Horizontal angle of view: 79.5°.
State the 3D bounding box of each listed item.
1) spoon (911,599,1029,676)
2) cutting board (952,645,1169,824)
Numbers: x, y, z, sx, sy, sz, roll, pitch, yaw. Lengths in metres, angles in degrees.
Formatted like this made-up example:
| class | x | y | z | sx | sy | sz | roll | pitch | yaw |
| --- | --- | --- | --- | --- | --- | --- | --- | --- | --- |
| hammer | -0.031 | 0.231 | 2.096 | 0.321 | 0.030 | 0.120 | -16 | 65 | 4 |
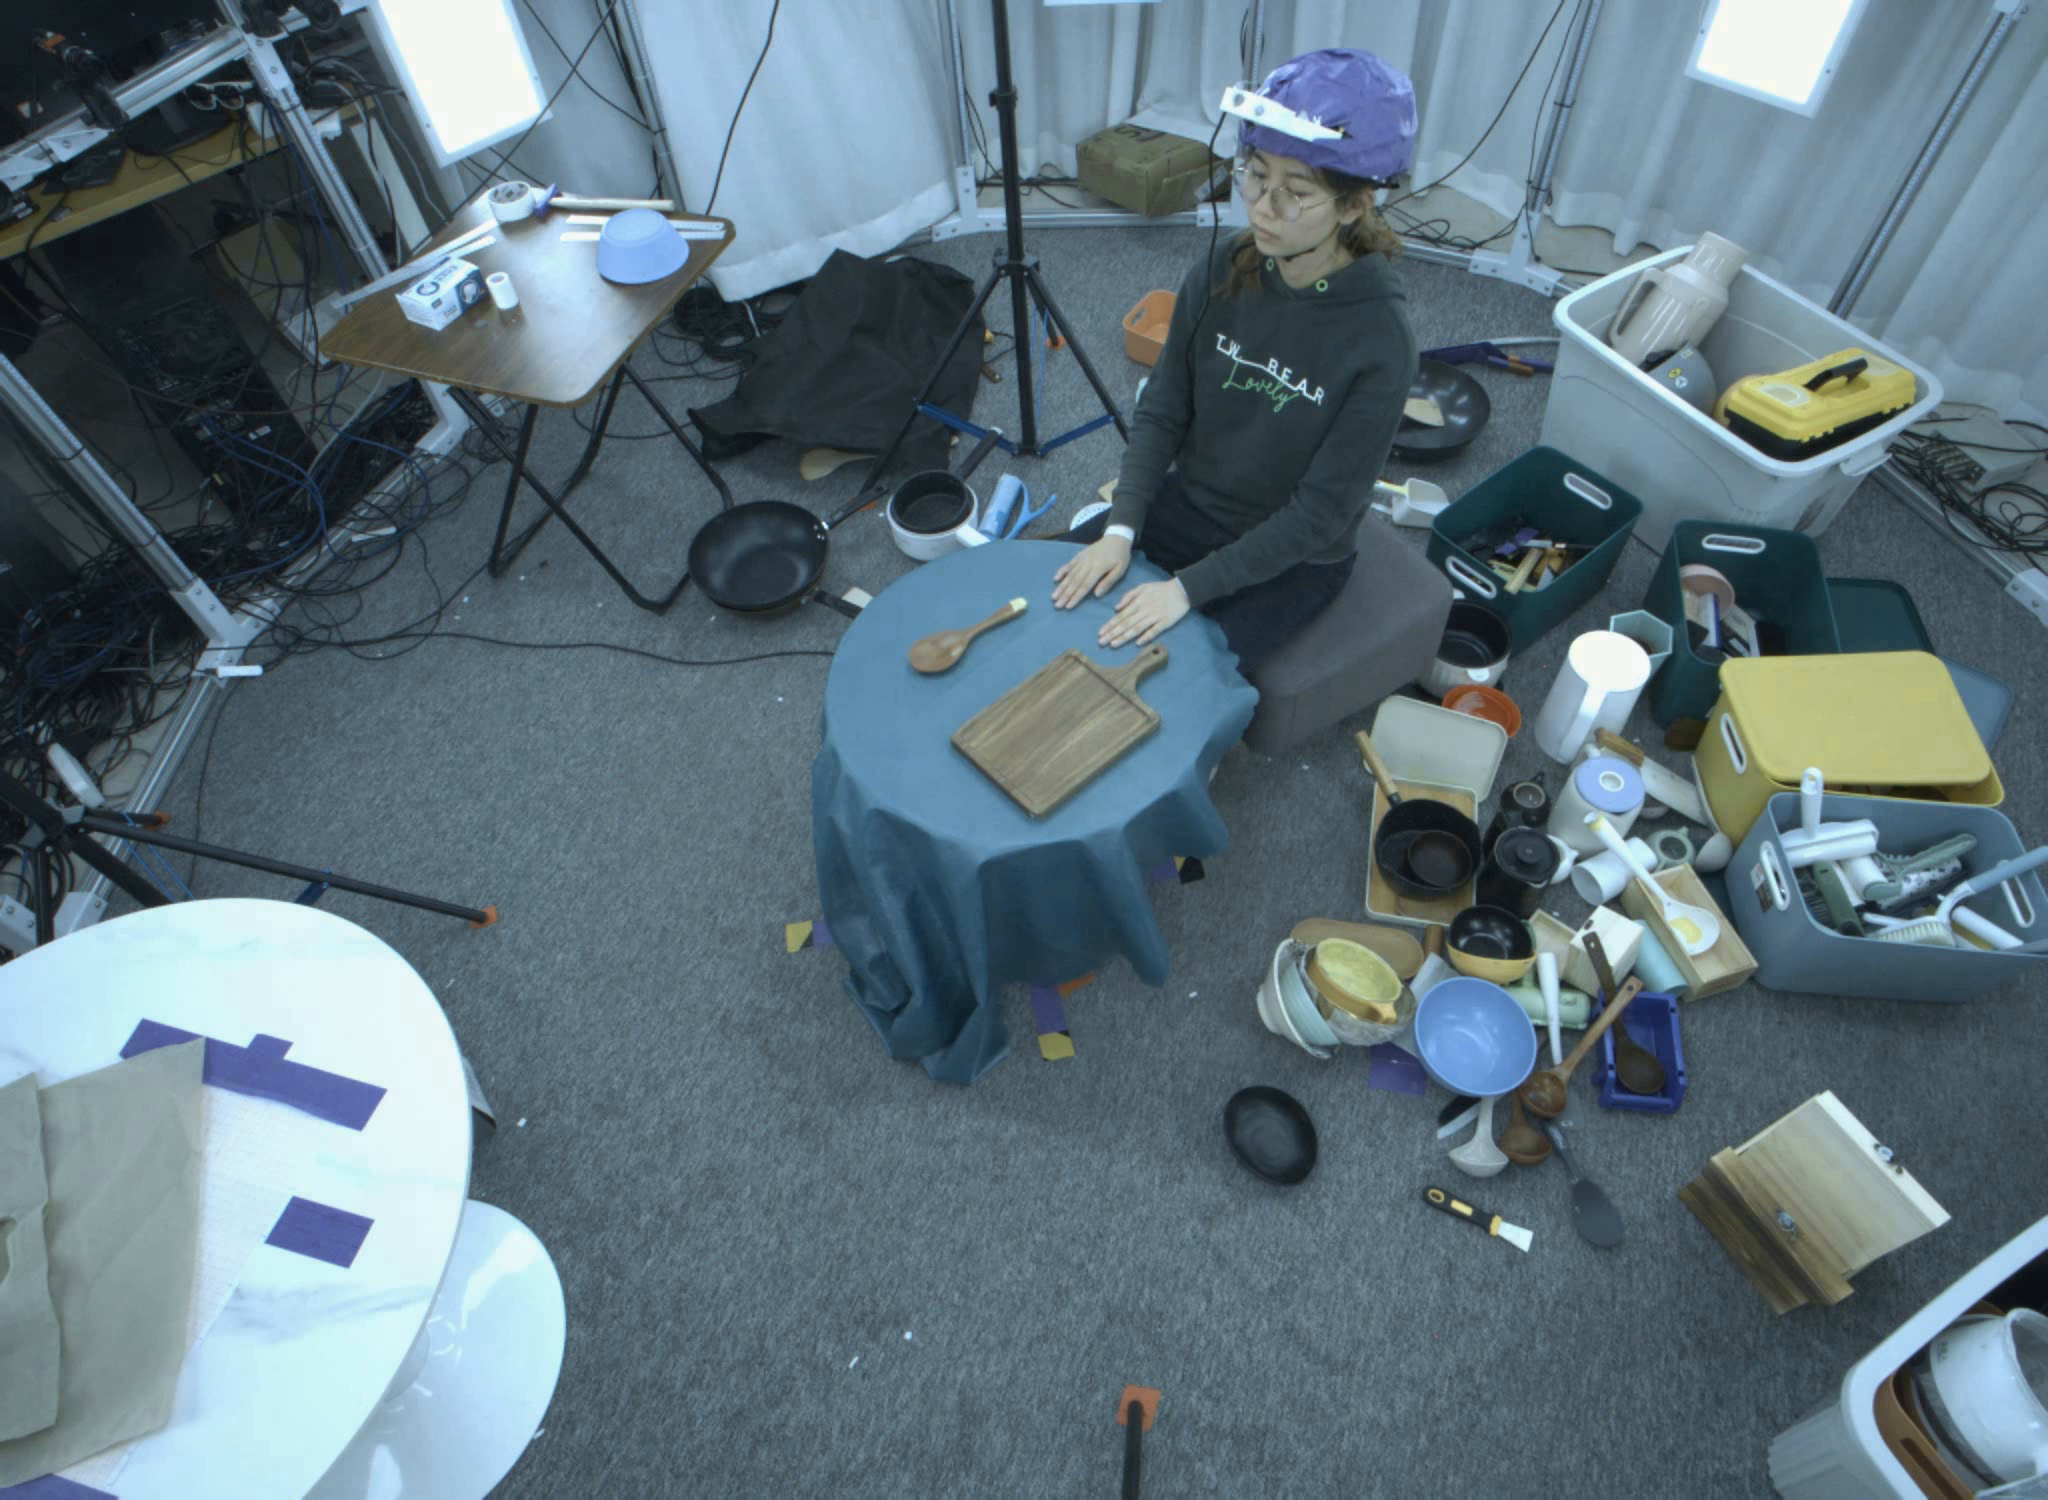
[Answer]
| class | x | y | z | sx | sy | sz | roll | pitch | yaw |
| --- | --- | --- | --- | --- | --- | --- | --- | --- | --- |
| spoon | -0.081 | -0.177 | 1.914 | 0.217 | 0.017 | 0.074 | -33 | 58 | -19 |
| cutting board | 0.086 | -0.051 | 1.821 | 0.355 | 0.023 | 0.197 | -37 | 61 | -22 |
